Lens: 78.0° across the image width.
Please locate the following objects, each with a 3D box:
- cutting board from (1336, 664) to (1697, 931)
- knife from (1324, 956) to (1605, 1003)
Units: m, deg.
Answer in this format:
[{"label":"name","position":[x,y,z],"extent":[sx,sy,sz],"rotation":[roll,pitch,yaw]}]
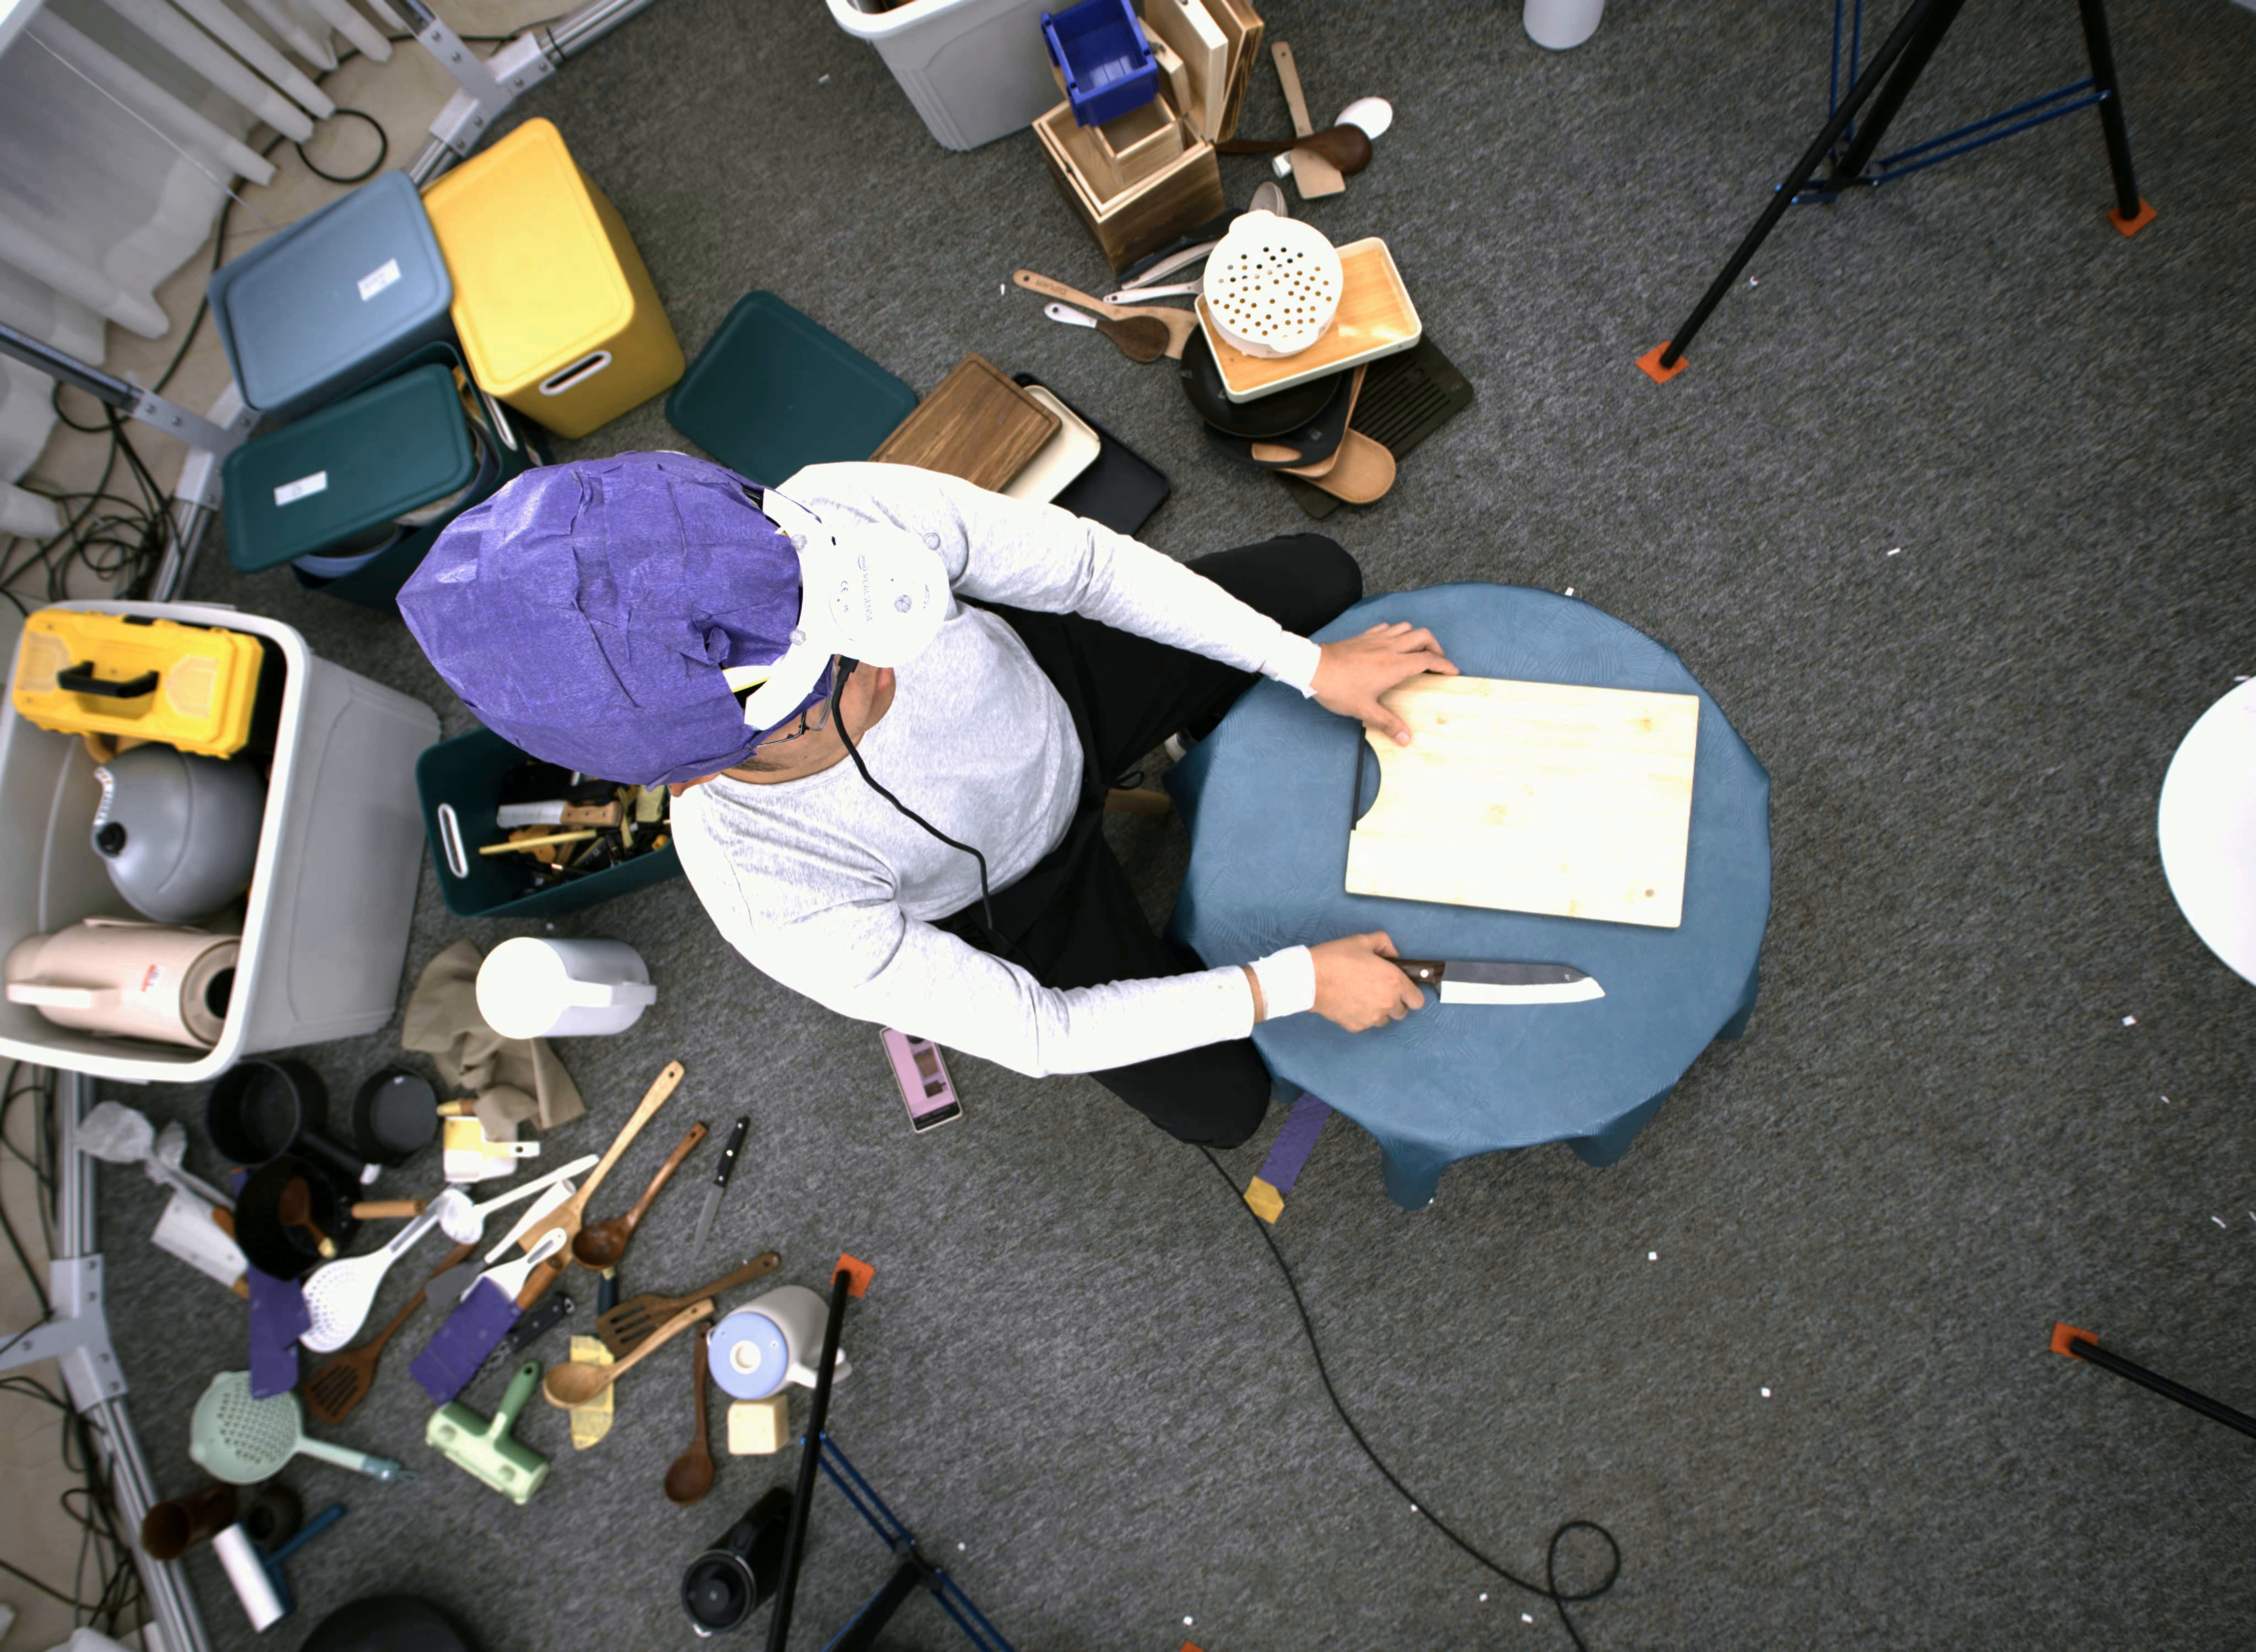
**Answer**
[{"label":"cutting board","position":[0.403,-0.035,1.433],"extent":[0.350,0.023,0.250],"rotation":[5,87,11]},{"label":"knife","position":[0.348,0.158,1.432],"extent":[0.290,0.020,0.050],"rotation":[3,99,8]}]
